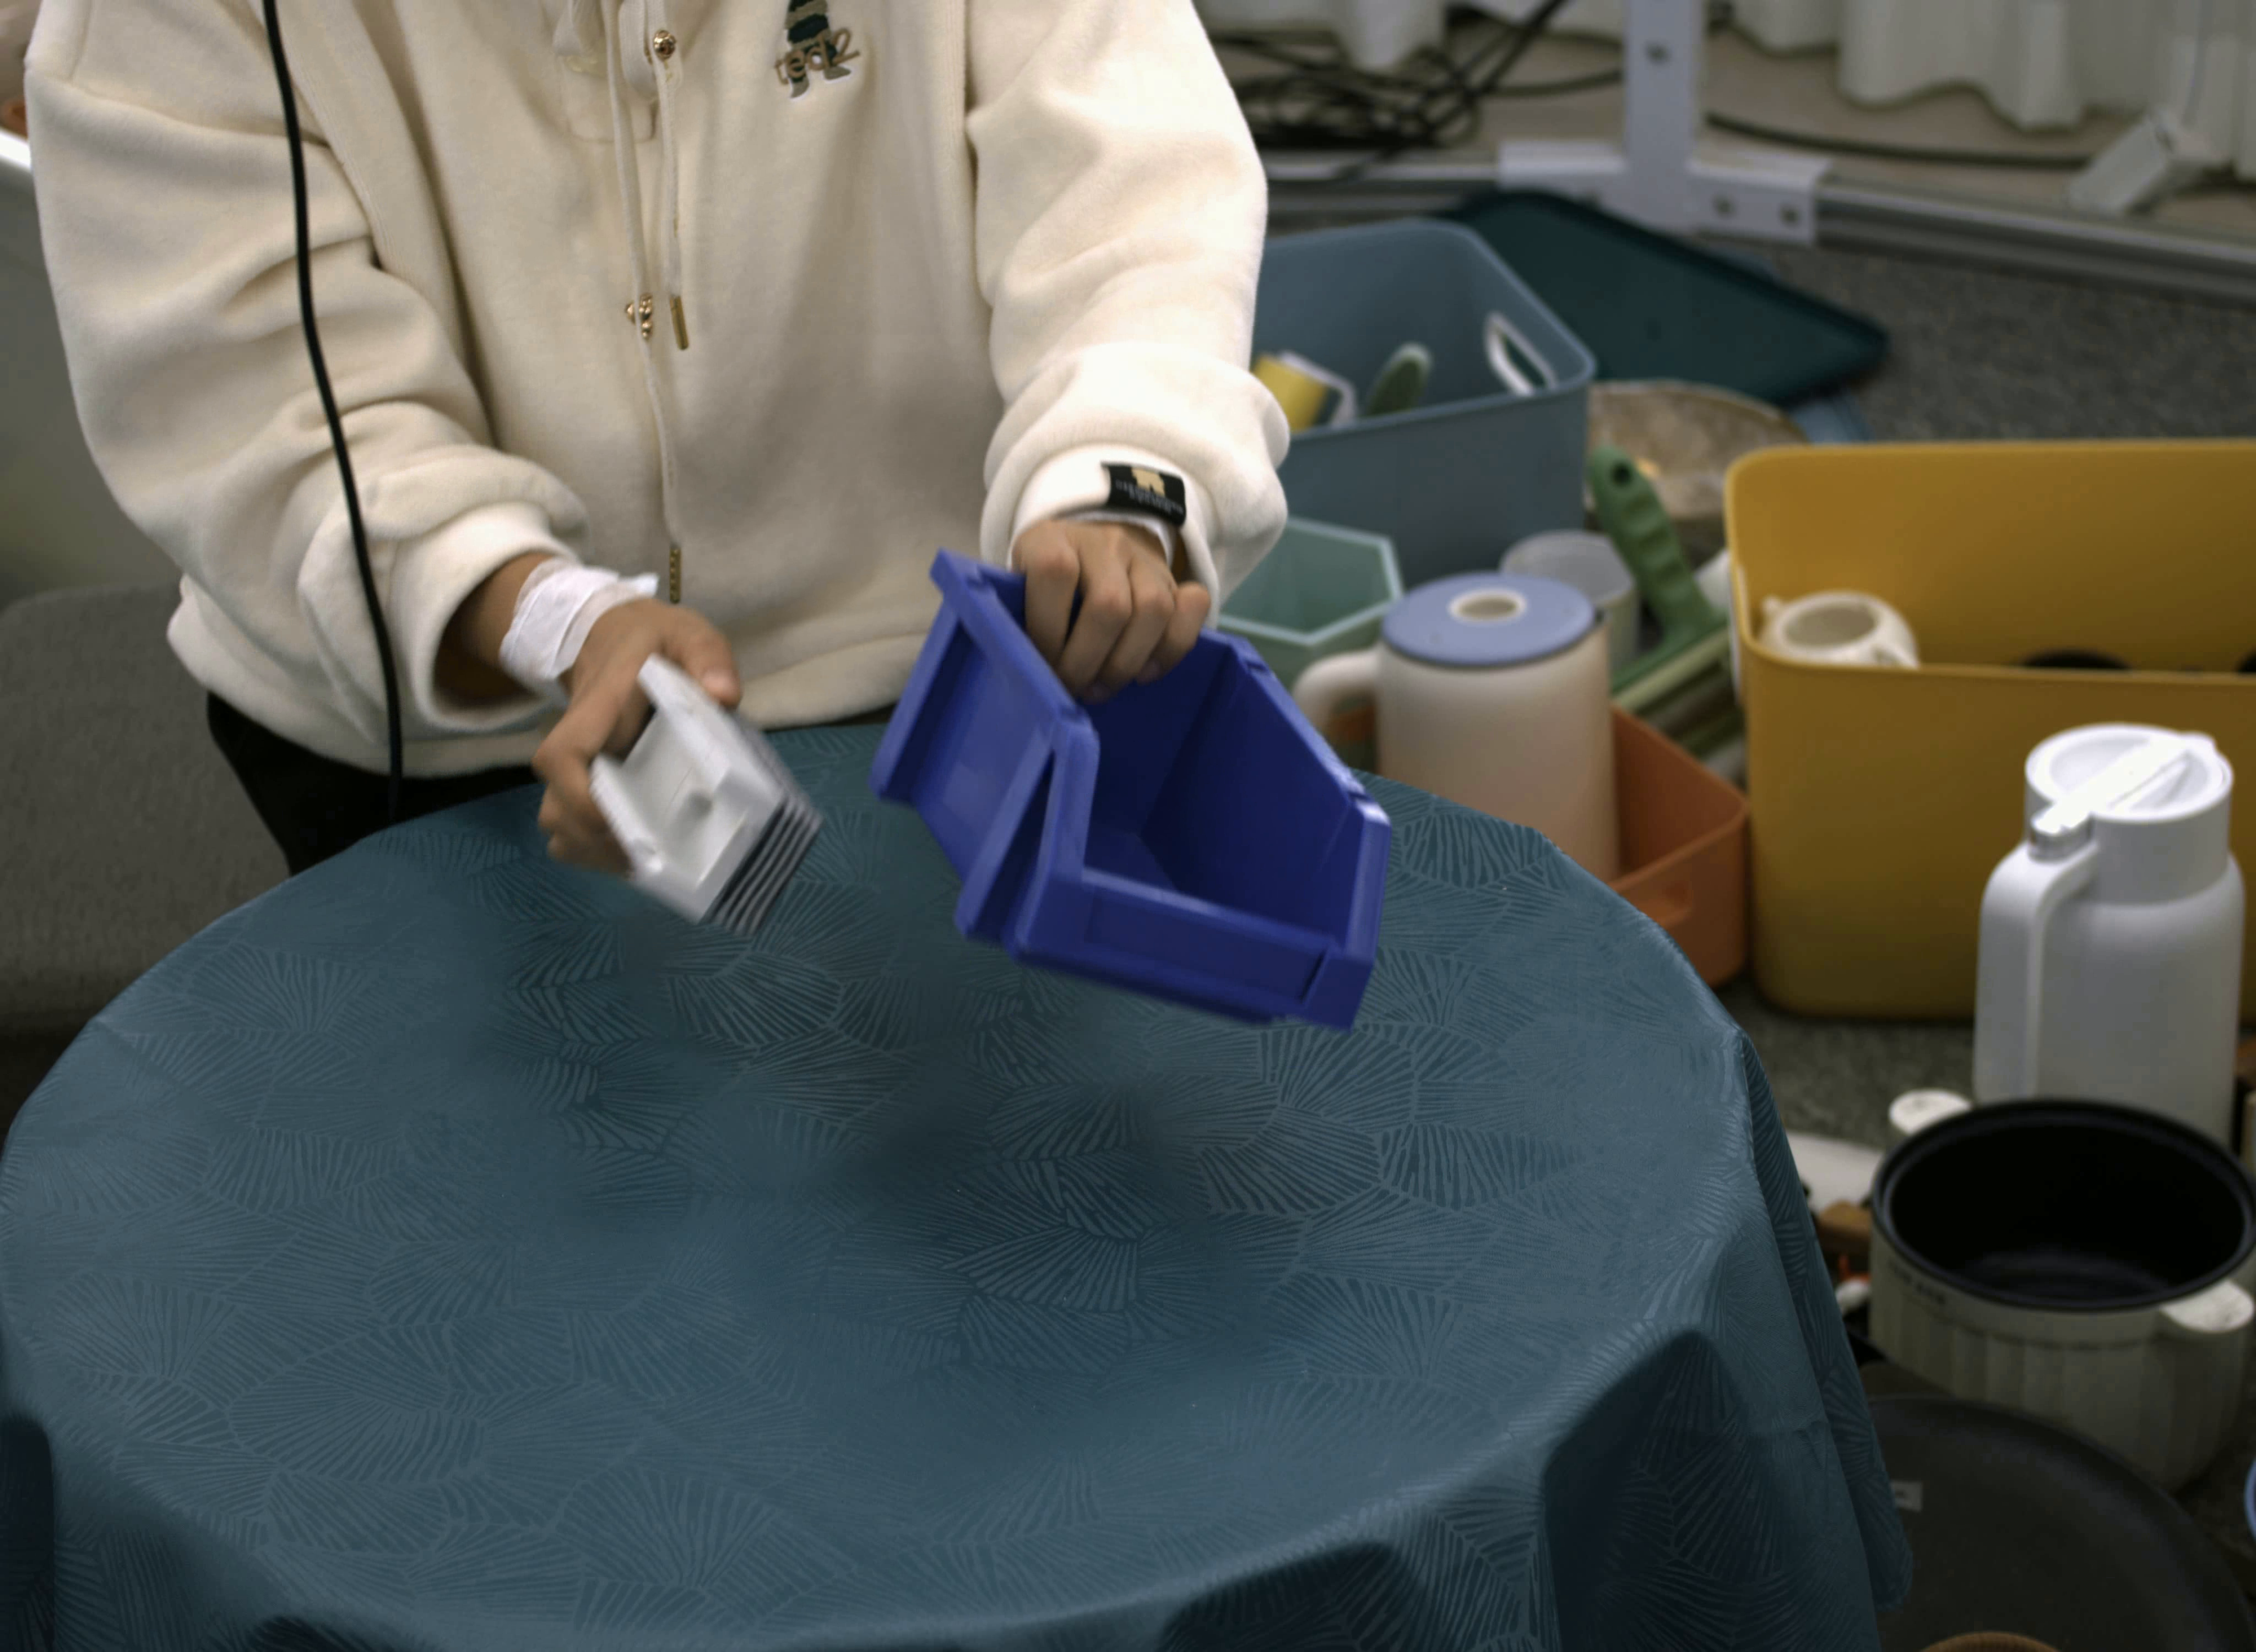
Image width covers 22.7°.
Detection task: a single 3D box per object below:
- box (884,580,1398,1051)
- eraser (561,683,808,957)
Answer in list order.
[{"bbox_3d":[0.006,0.003,1.831,0.124,0.081,0.181,16,17,-23],"label":"box"},{"bbox_3d":[-0.151,-0.002,1.919,0.046,0.050,0.135,32,5,-24],"label":"eraser"}]
